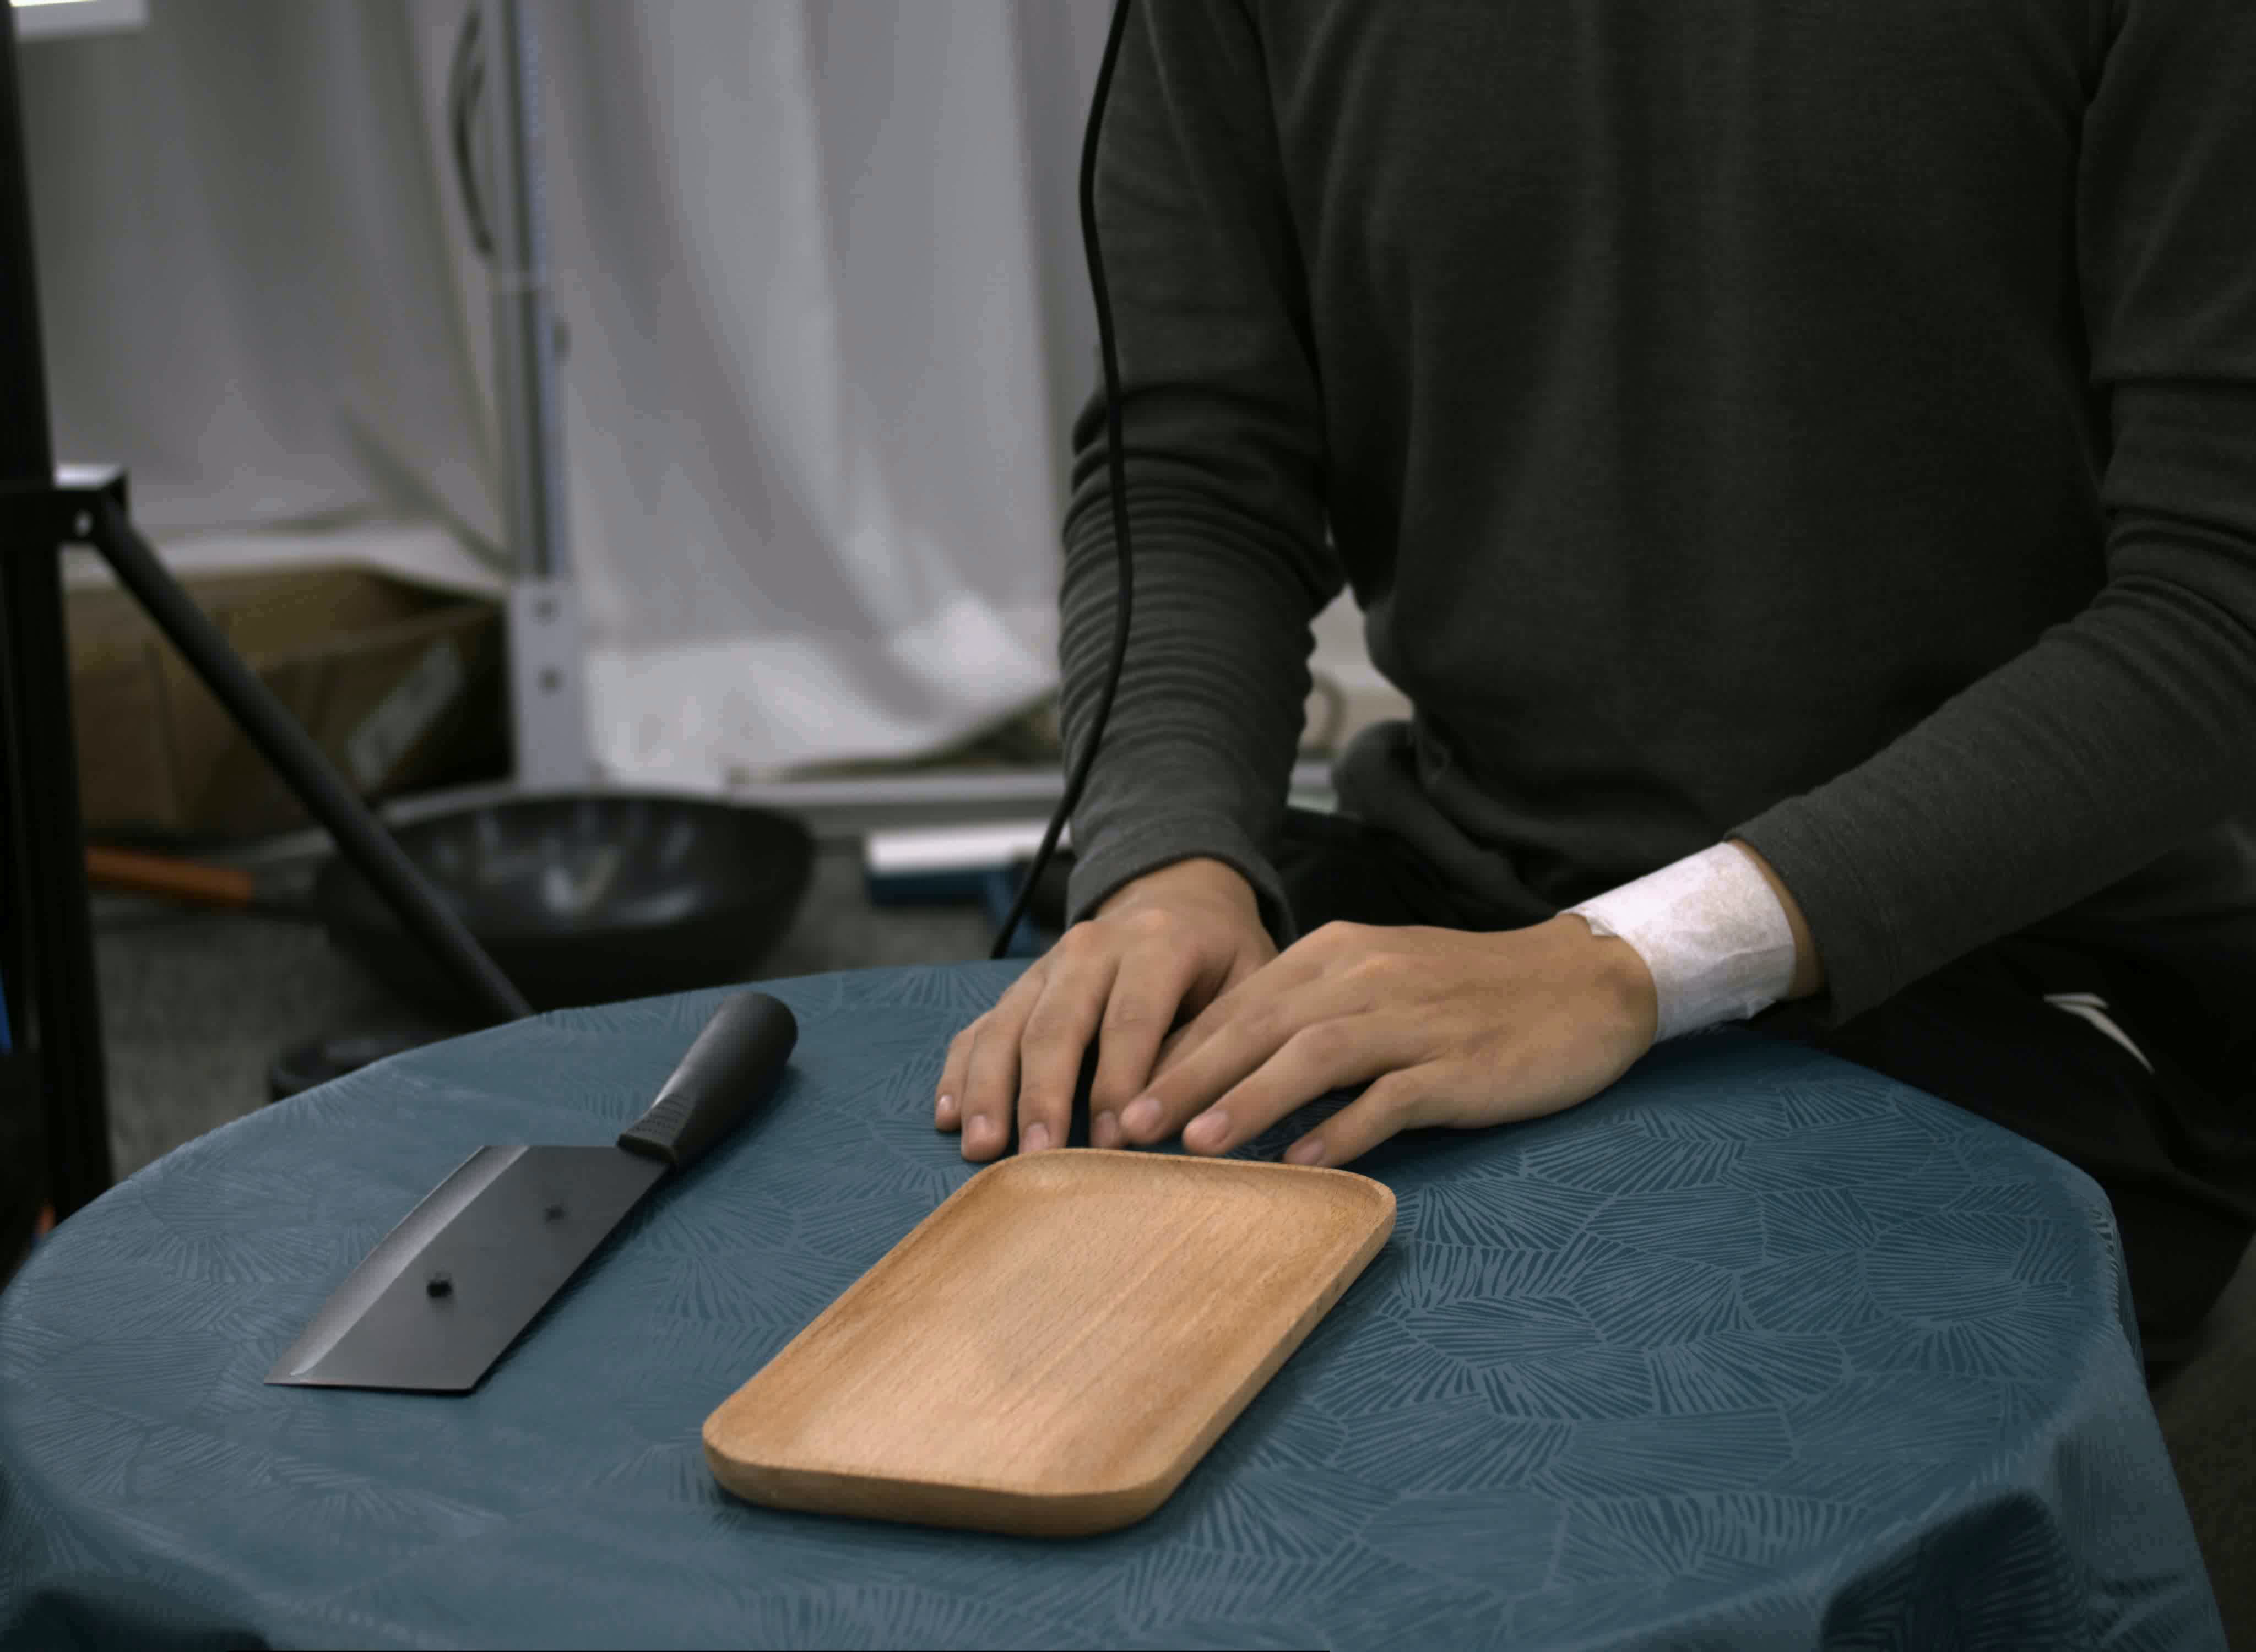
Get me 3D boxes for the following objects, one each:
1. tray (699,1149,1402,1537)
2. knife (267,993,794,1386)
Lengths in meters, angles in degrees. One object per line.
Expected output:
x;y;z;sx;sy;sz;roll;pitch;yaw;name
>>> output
-0.016;0.136;1.435;0.132;0.023;0.247;6;17;20;tray
-0.166;0.106;1.571;0.082;0.021;0.299;2;18;19;knife
